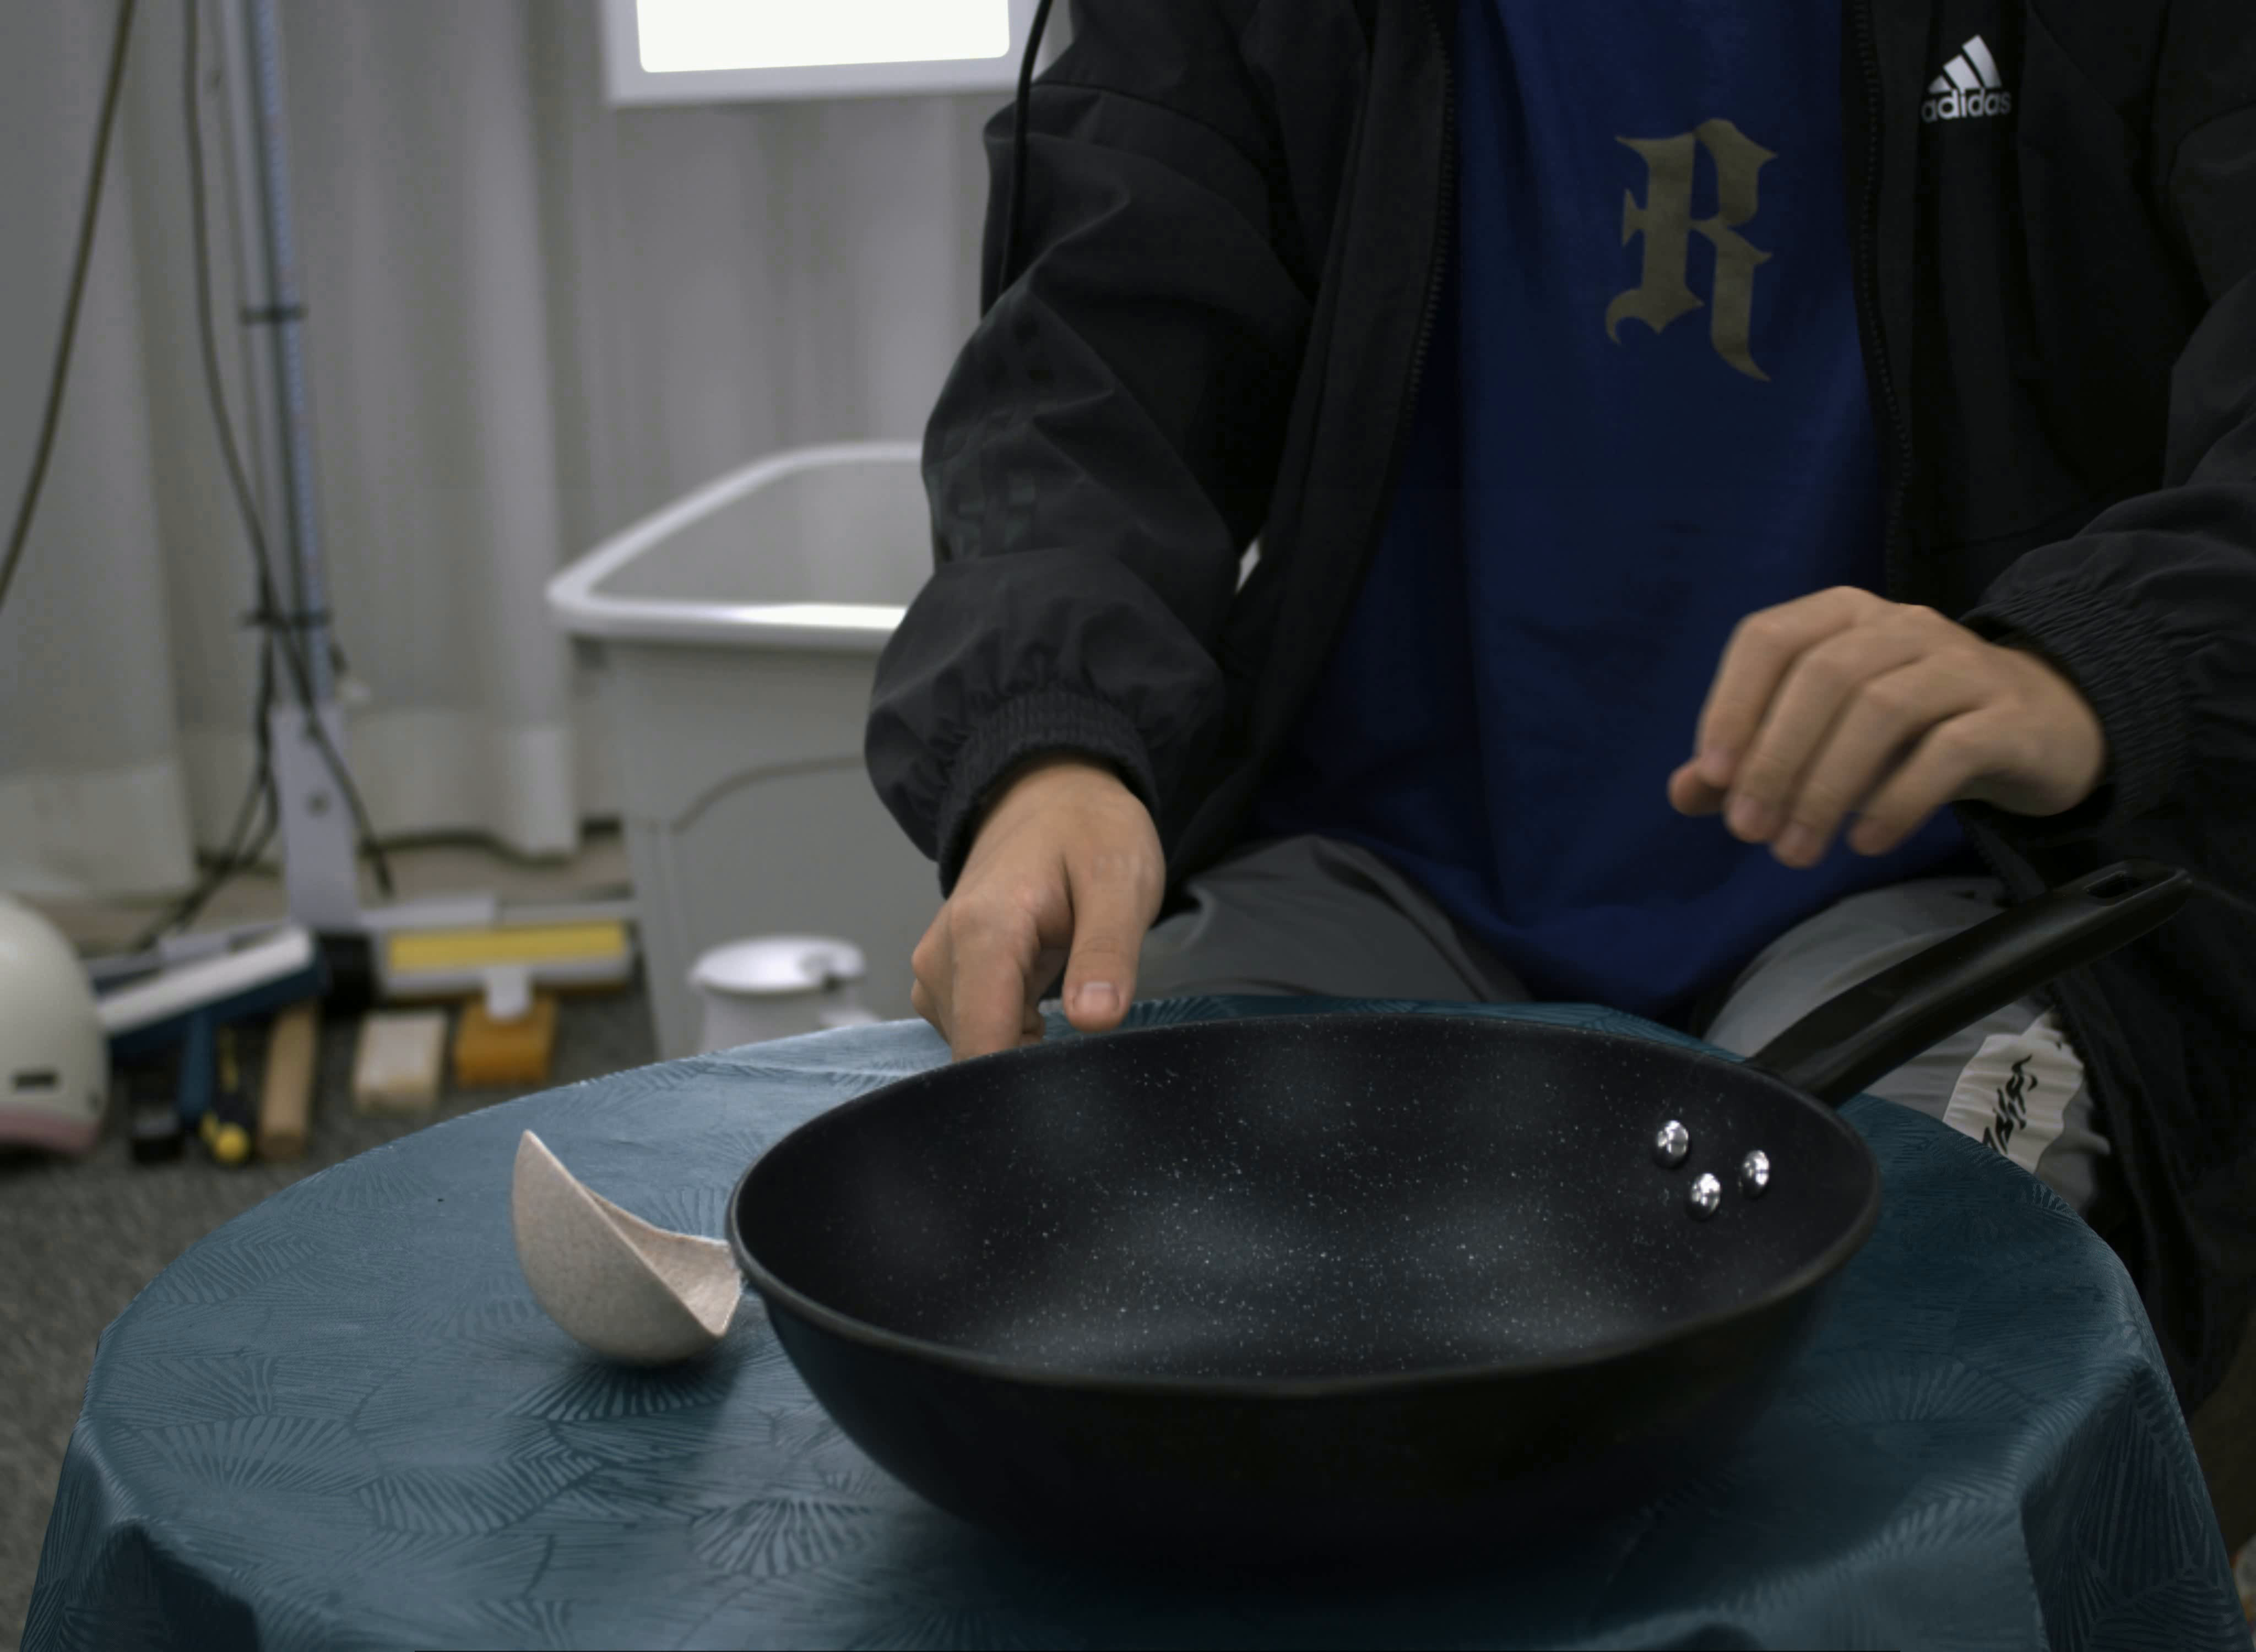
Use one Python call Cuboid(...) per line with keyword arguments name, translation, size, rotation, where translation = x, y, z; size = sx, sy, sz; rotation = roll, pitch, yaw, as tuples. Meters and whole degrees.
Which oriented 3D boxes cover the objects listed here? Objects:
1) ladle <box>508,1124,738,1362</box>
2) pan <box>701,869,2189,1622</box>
Cuboid(name="ladle", translation=(-0.060, 0.103, 1.640), size=(0.274, 0.069, 0.090), rotation=(-10, 31, -34))
Cuboid(name="pan", translation=(0.111, 0.111, 1.499), size=(0.475, 0.111, 0.312), rotation=(-13, 19, -32))
